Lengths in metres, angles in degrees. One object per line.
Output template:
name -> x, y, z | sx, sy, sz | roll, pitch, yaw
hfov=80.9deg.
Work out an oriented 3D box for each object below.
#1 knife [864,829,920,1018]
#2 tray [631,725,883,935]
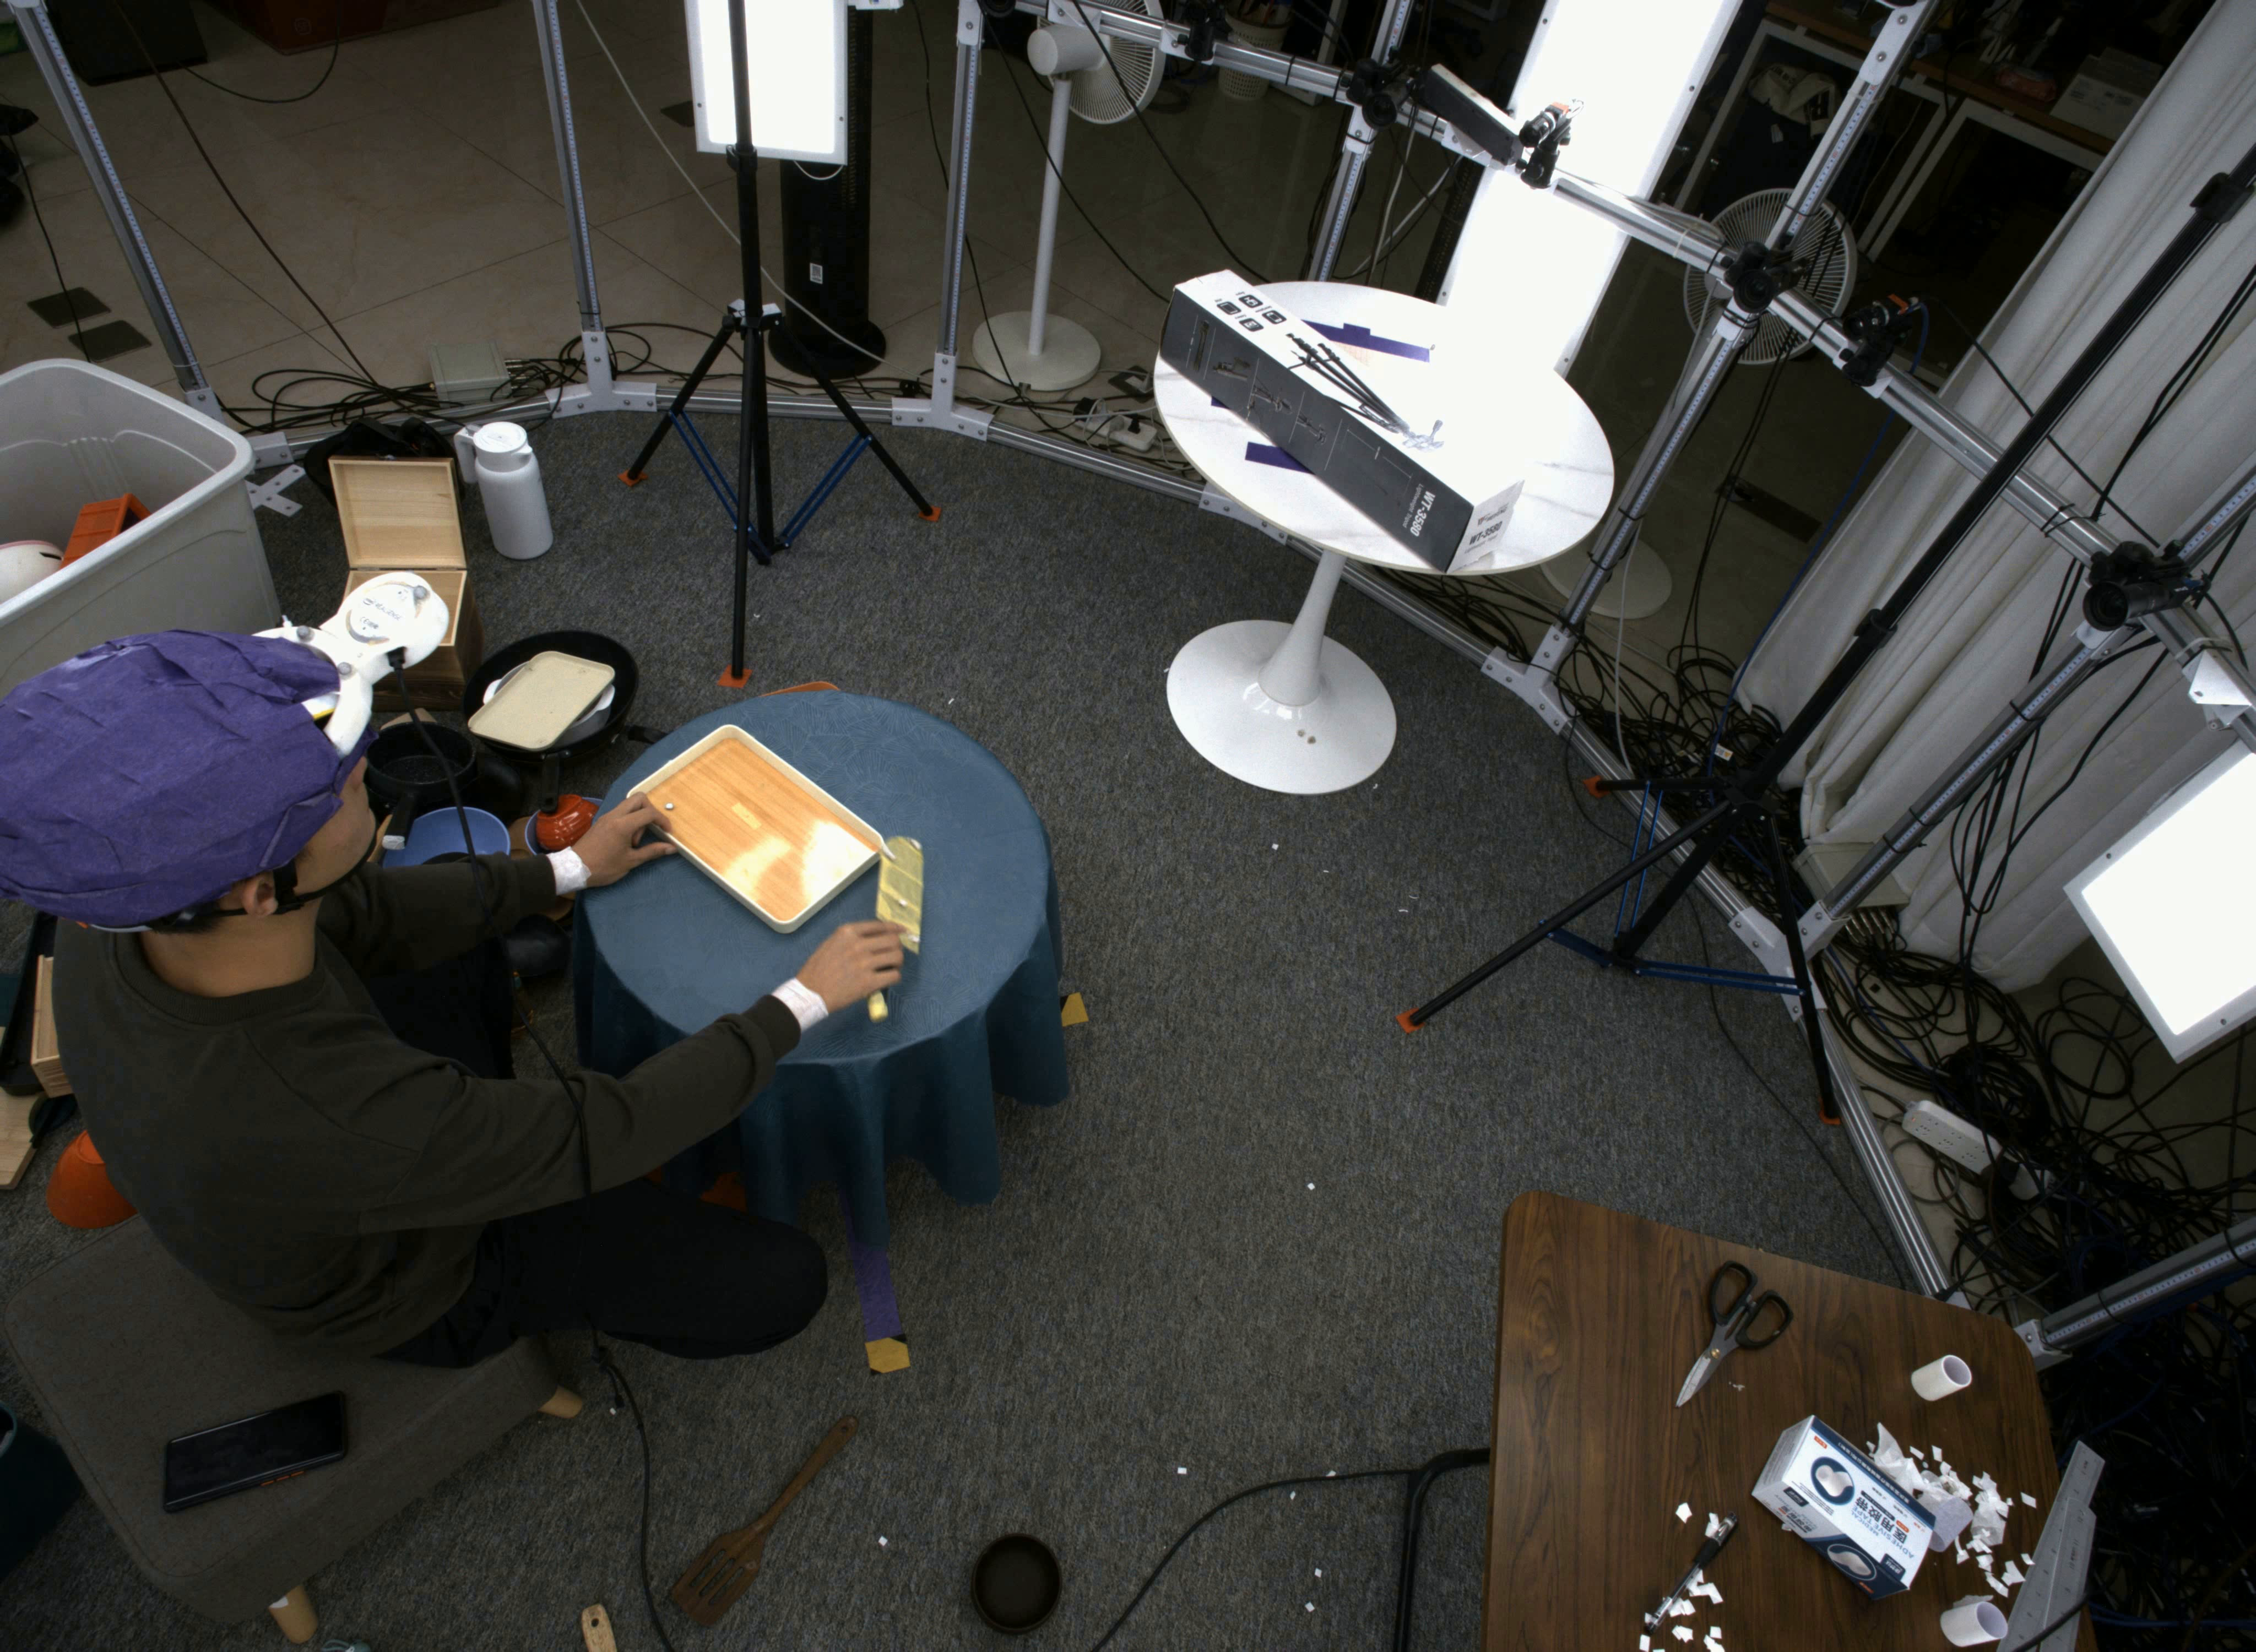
knife -> -0.288, 0.114, 1.597 | 0.084, 0.027, 0.284 | 38, 37, -37
tray -> -0.488, -0.001, 1.703 | 0.294, 0.028, 0.191 | 35, 55, 13
